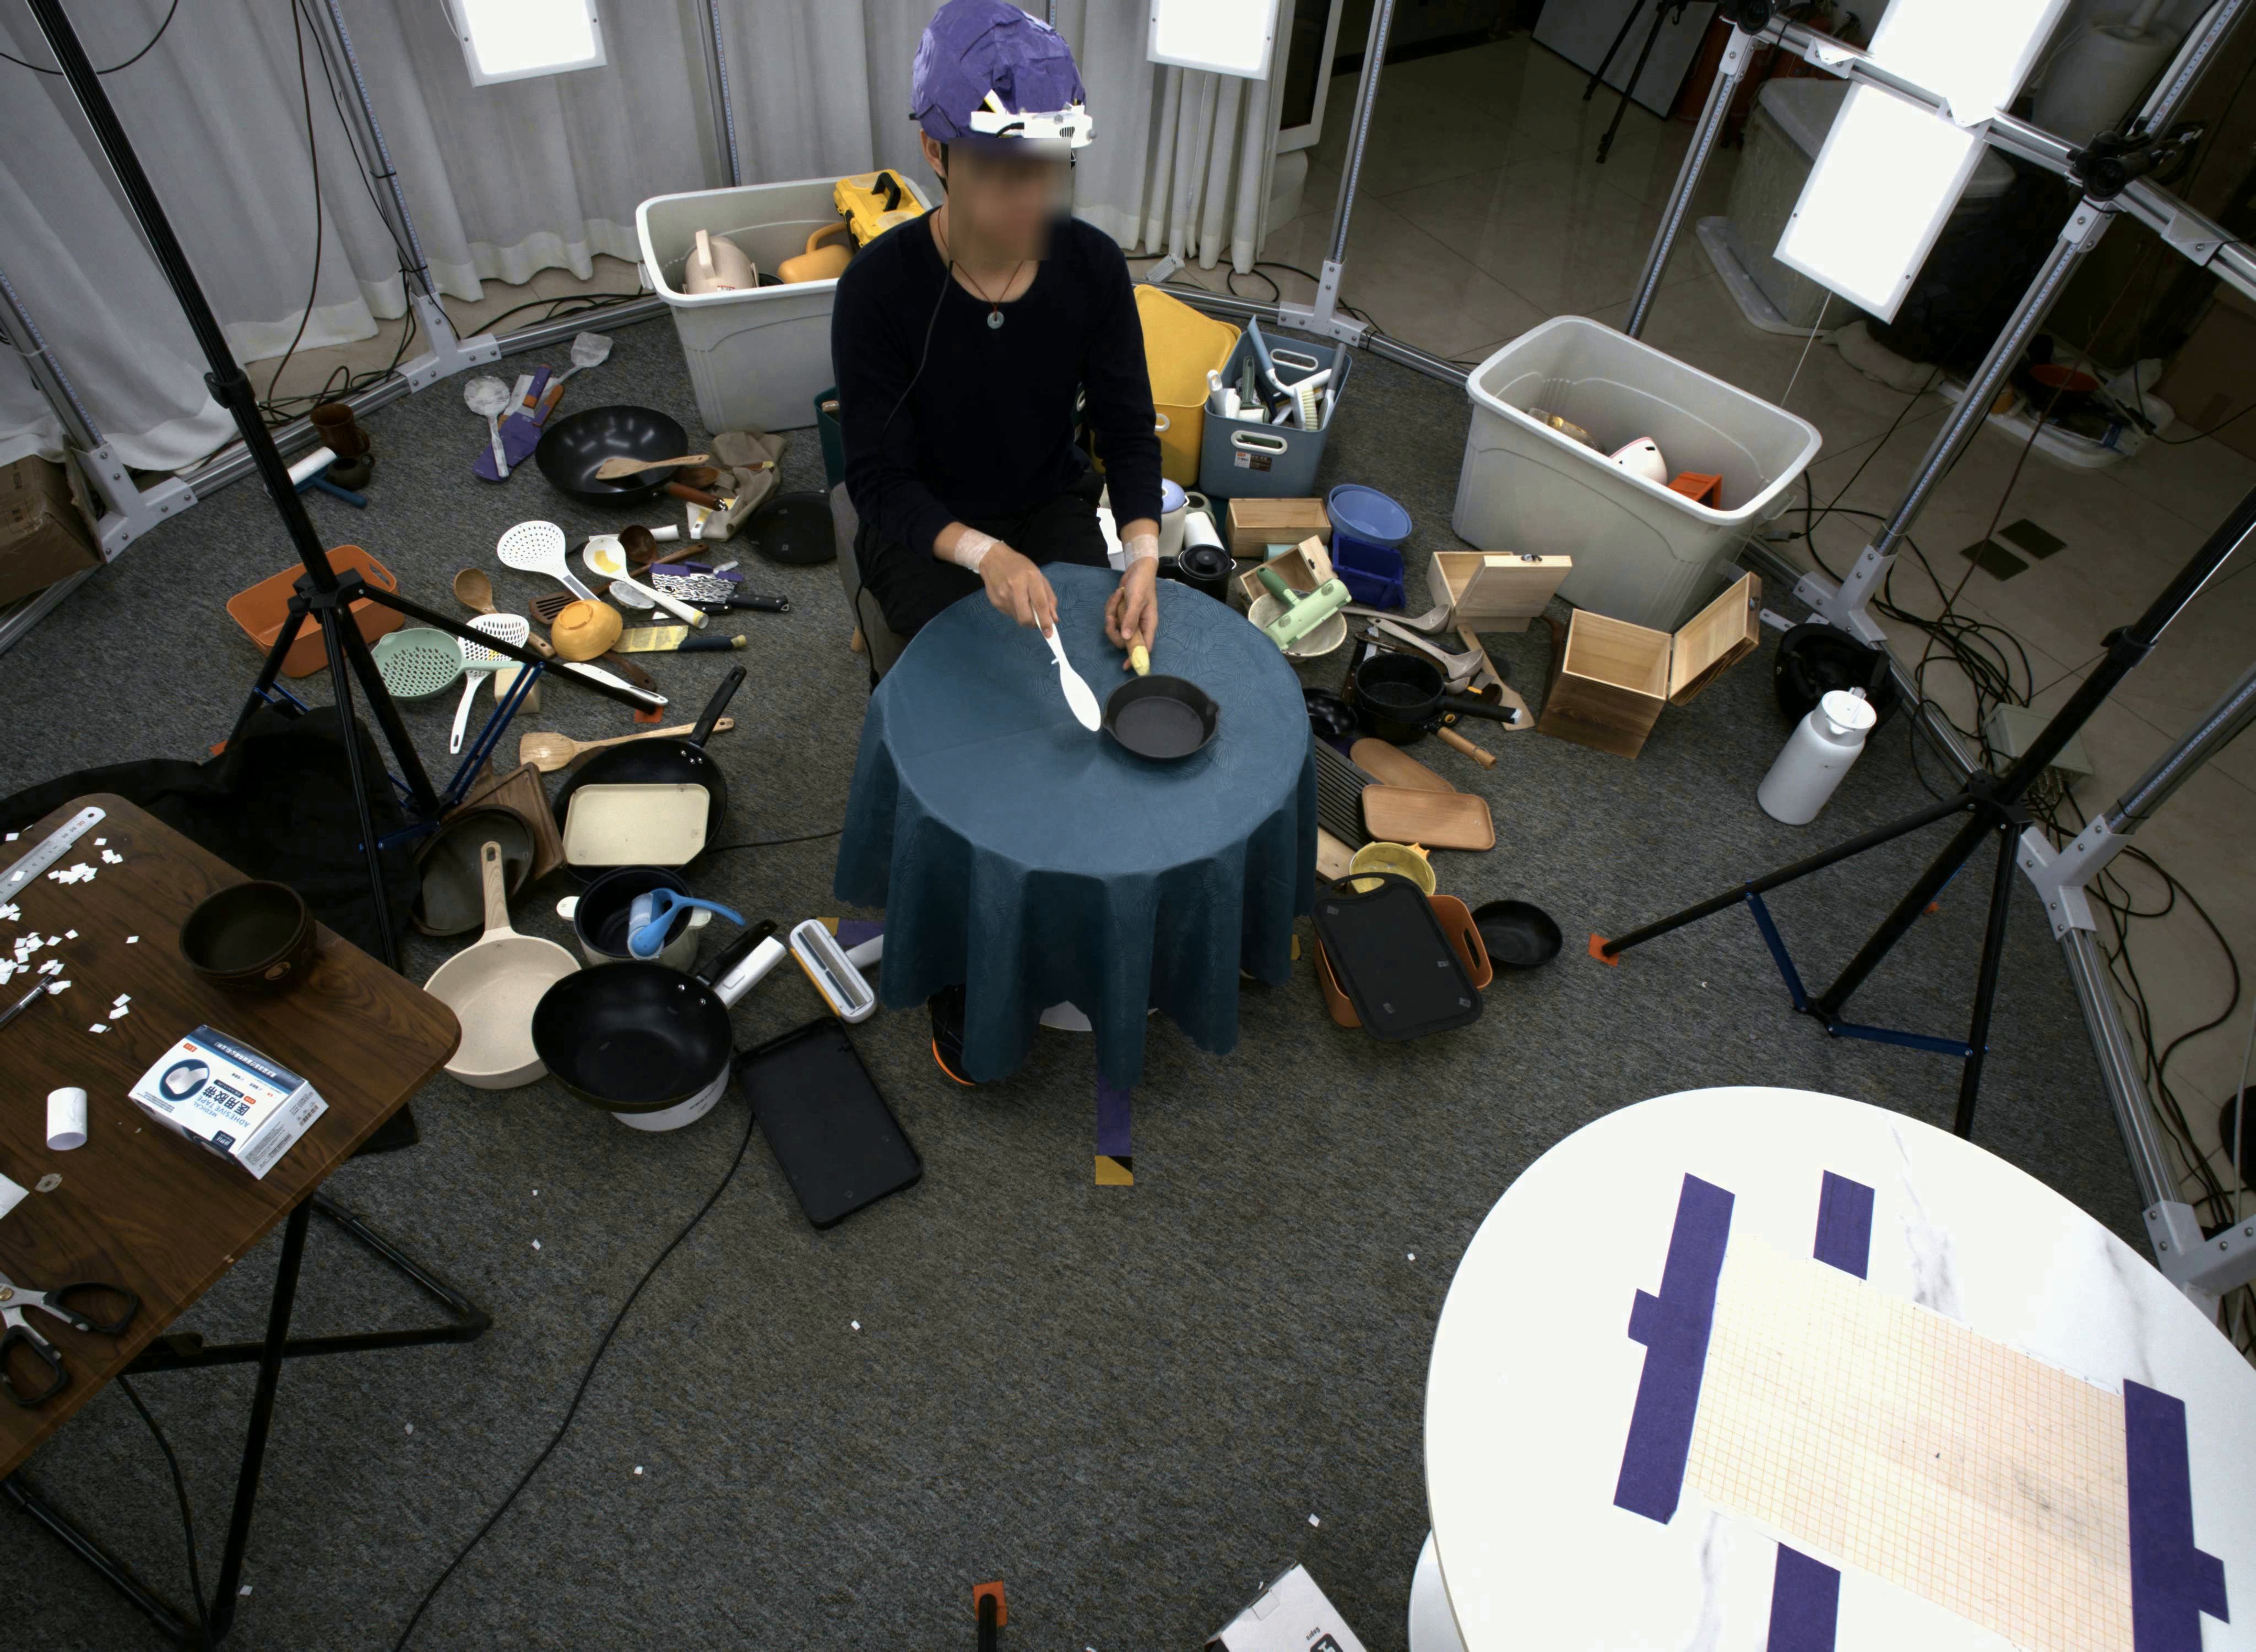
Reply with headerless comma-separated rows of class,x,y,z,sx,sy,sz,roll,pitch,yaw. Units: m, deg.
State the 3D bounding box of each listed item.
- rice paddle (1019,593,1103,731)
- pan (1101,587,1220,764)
rice paddle,-0.087,-0.221,1.741,0.069,0.029,0.206,-20,81,-59
pan,0.027,-0.215,1.821,0.169,0.048,0.332,-7,52,-10
